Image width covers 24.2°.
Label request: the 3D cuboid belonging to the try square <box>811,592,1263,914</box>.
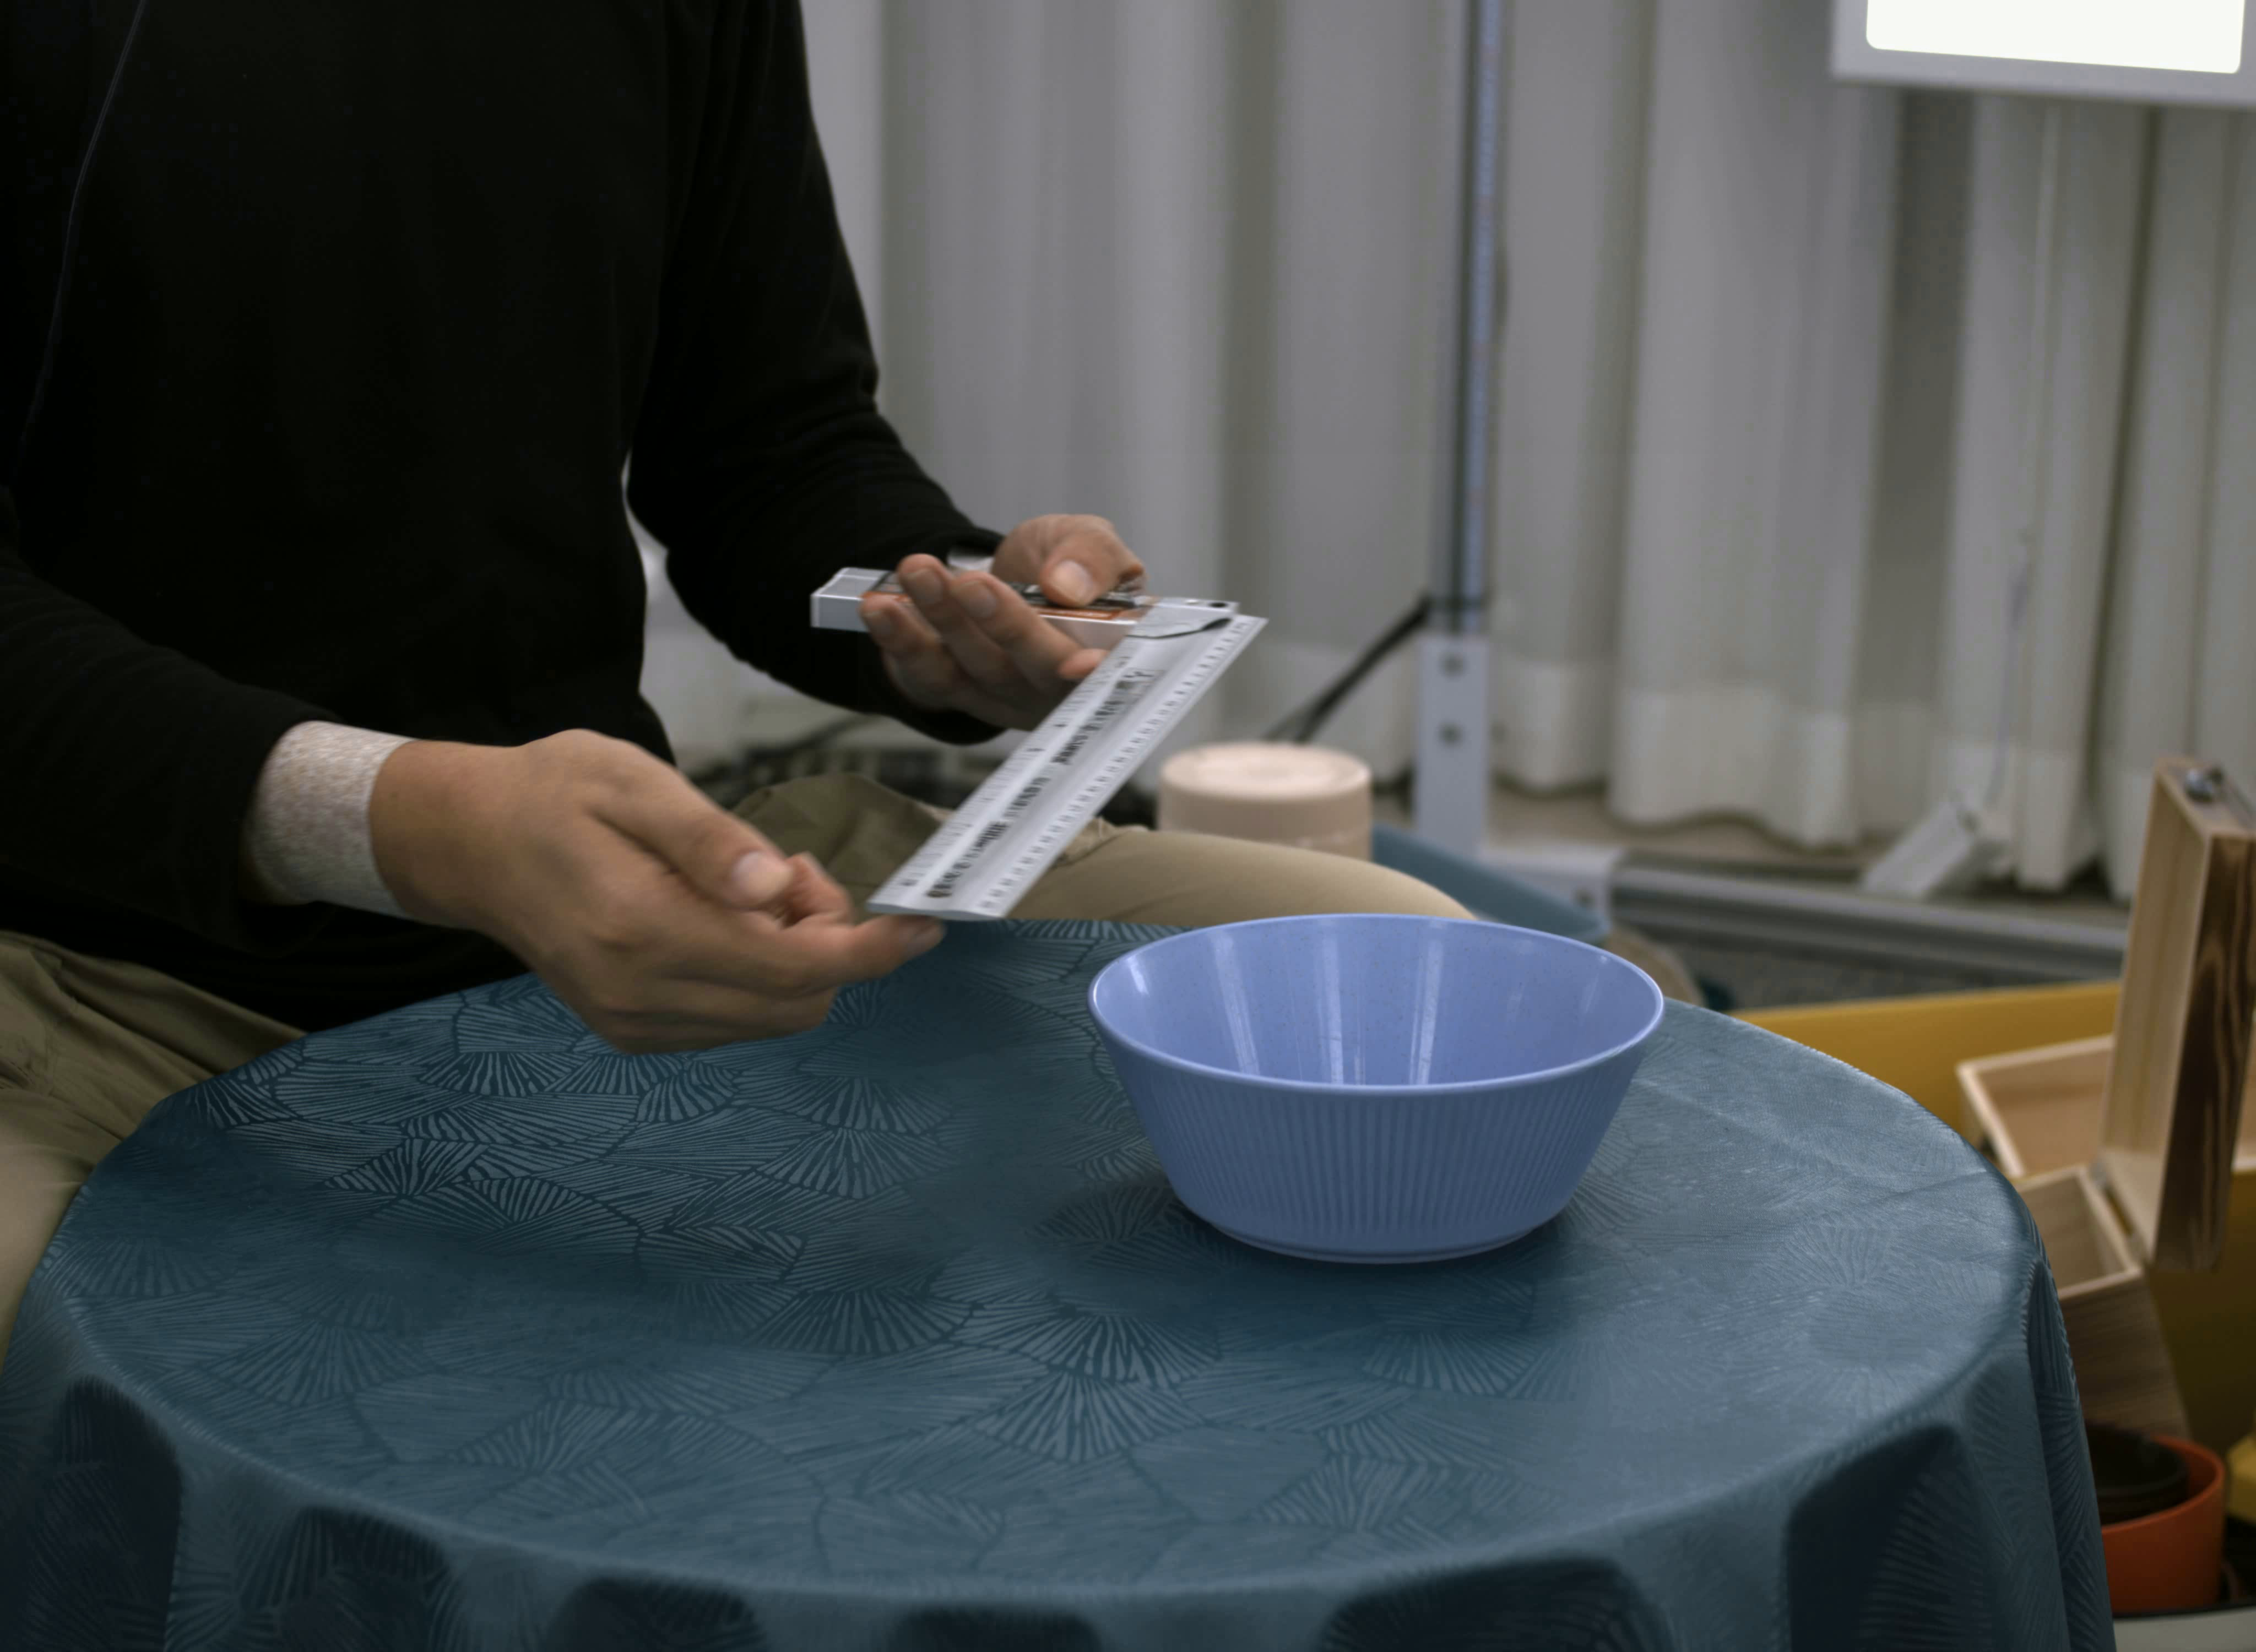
[{"bbox_3d":[-0.068,-0.026,1.658,0.151,0.016,0.312,2,19,16],"label":"try square"}]

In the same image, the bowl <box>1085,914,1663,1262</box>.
[{"bbox_3d":[0.074,0.082,1.602,0.175,0.071,0.175,1,16,0],"label":"bowl"}]
